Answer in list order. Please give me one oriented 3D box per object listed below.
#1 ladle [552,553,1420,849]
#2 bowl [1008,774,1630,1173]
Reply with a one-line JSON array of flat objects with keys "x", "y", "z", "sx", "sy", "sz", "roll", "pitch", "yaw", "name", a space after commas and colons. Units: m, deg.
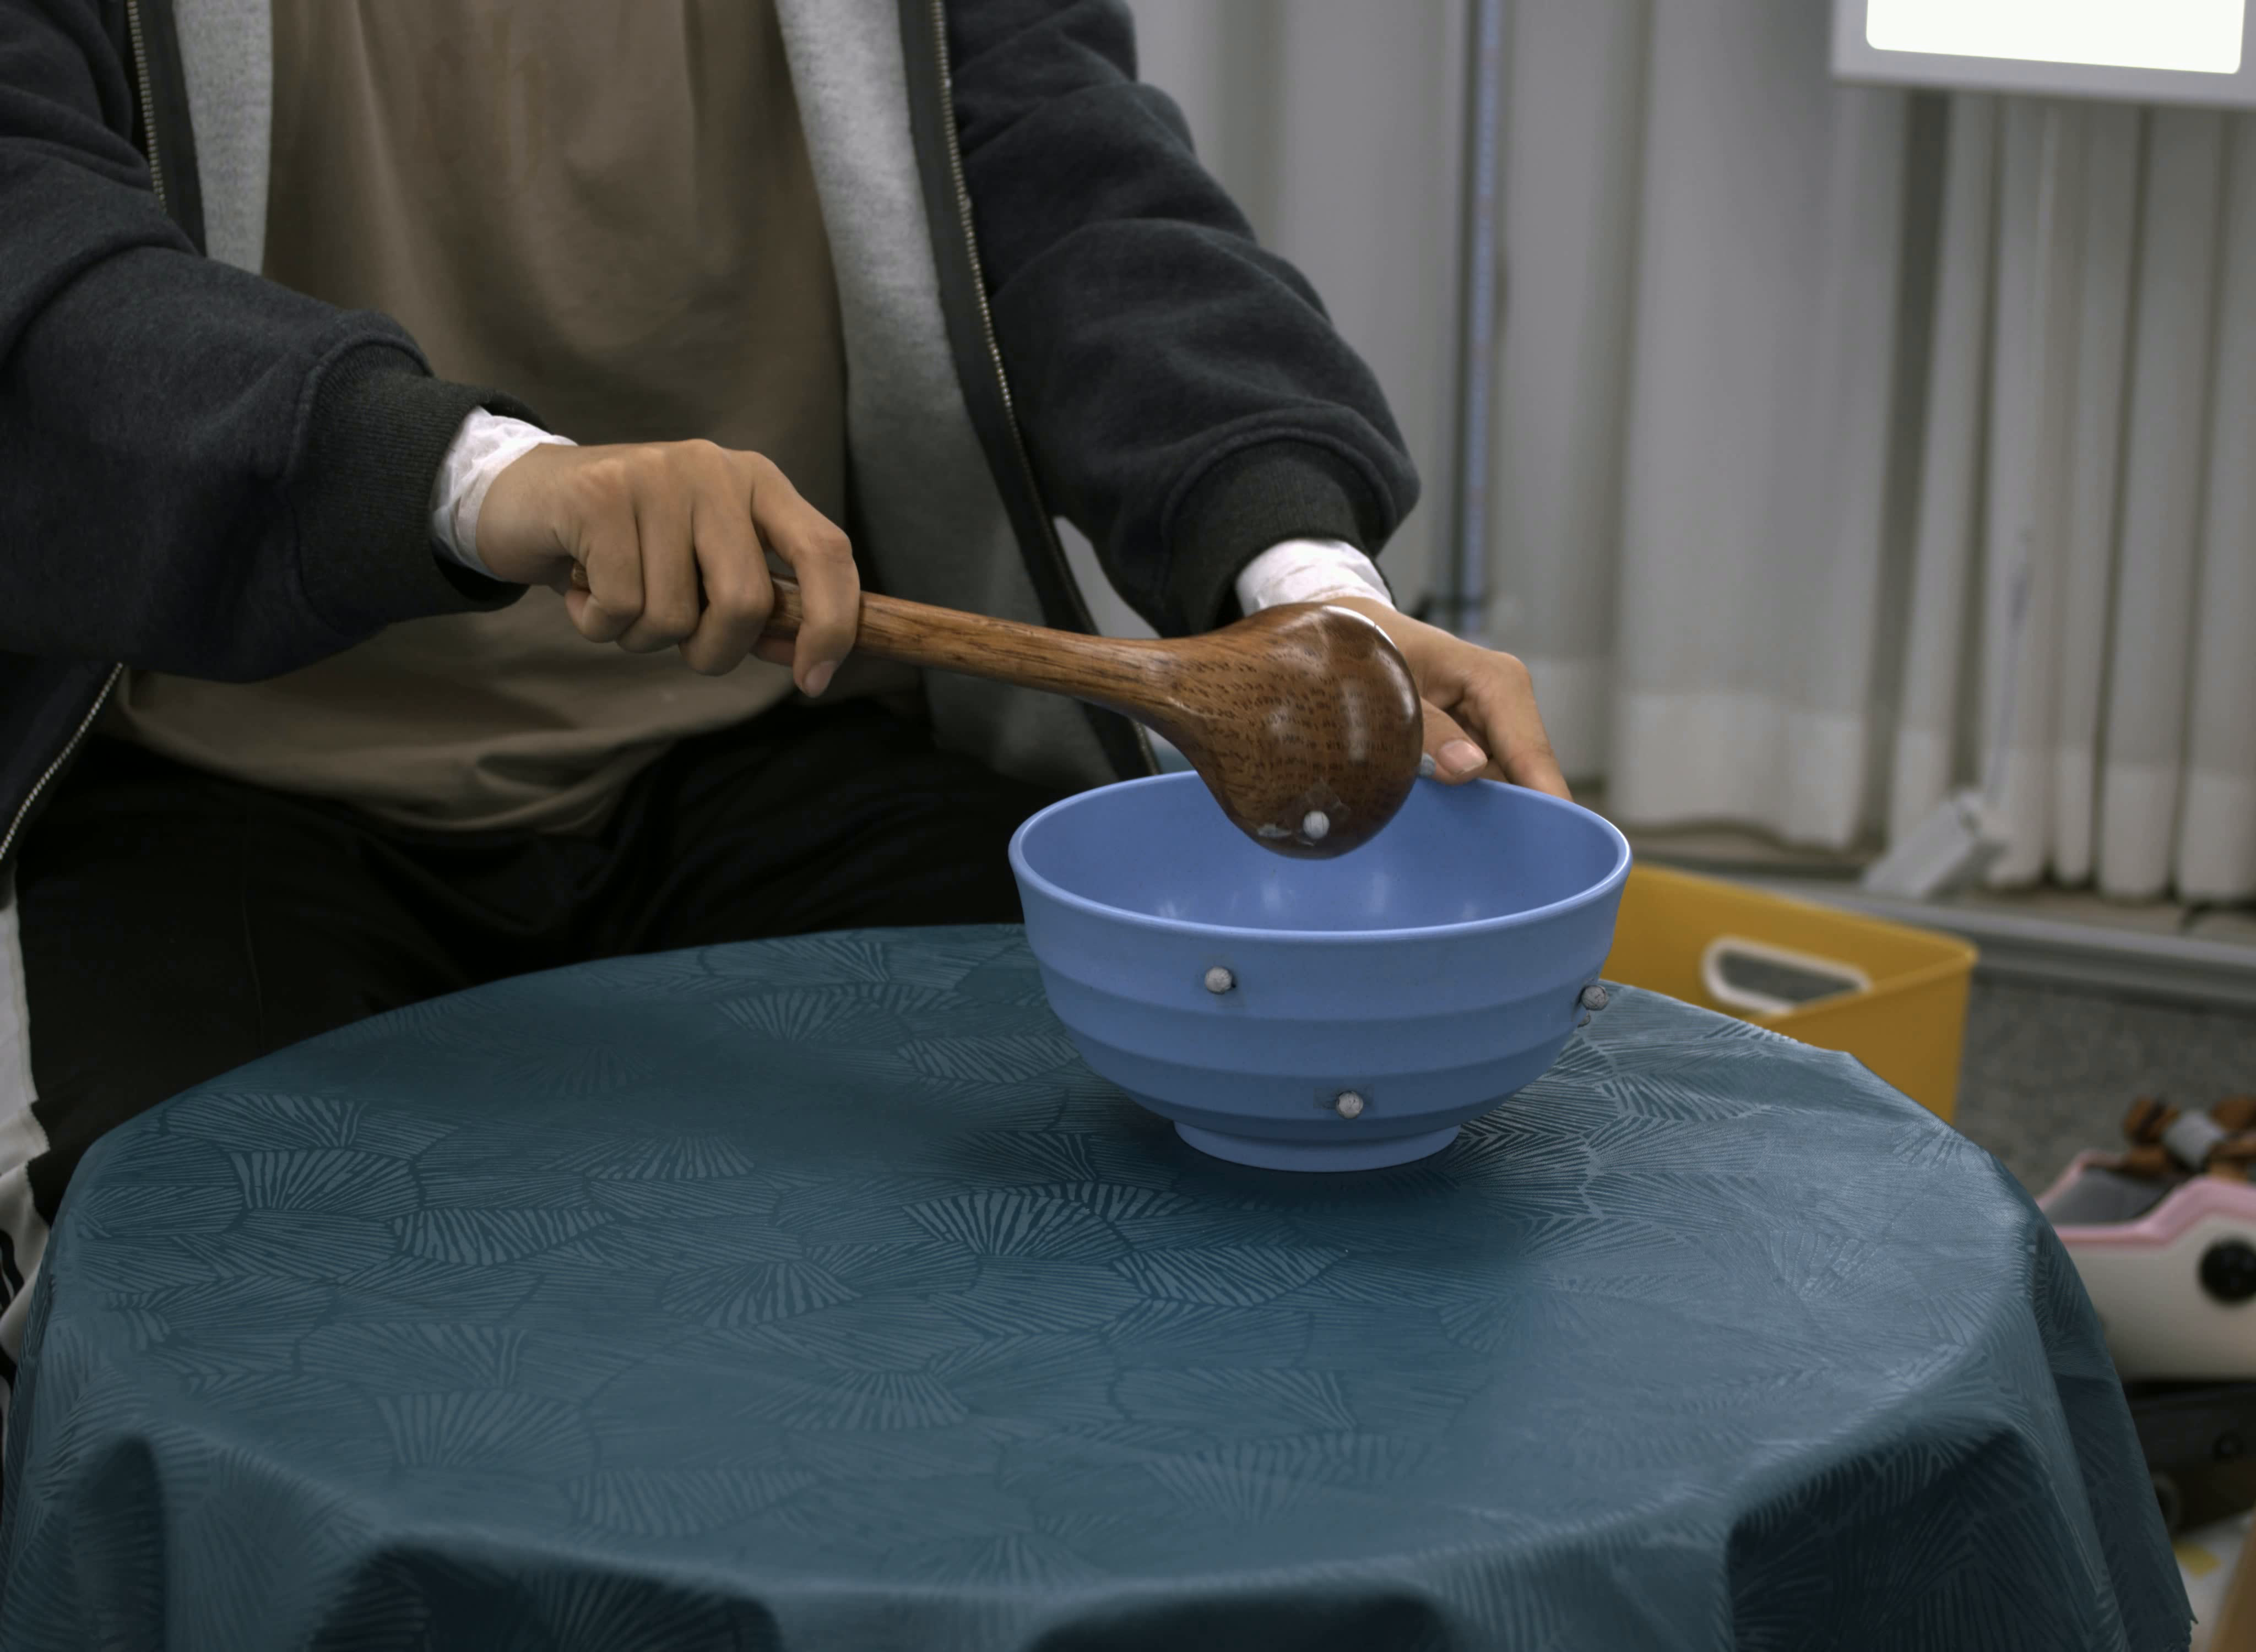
[{"x": -0.043, "y": -0.051, "z": 1.663, "sx": 0.272, "sy": 0.082, "sz": 0.077, "roll": 9, "pitch": -12, "yaw": 15, "name": "ladle"}, {"x": 0.060, "y": 0.051, "z": 1.669, "sx": 0.196, "sy": 0.096, "sz": 0.195, "roll": 0, "pitch": 15, "yaw": 1, "name": "bowl"}]
